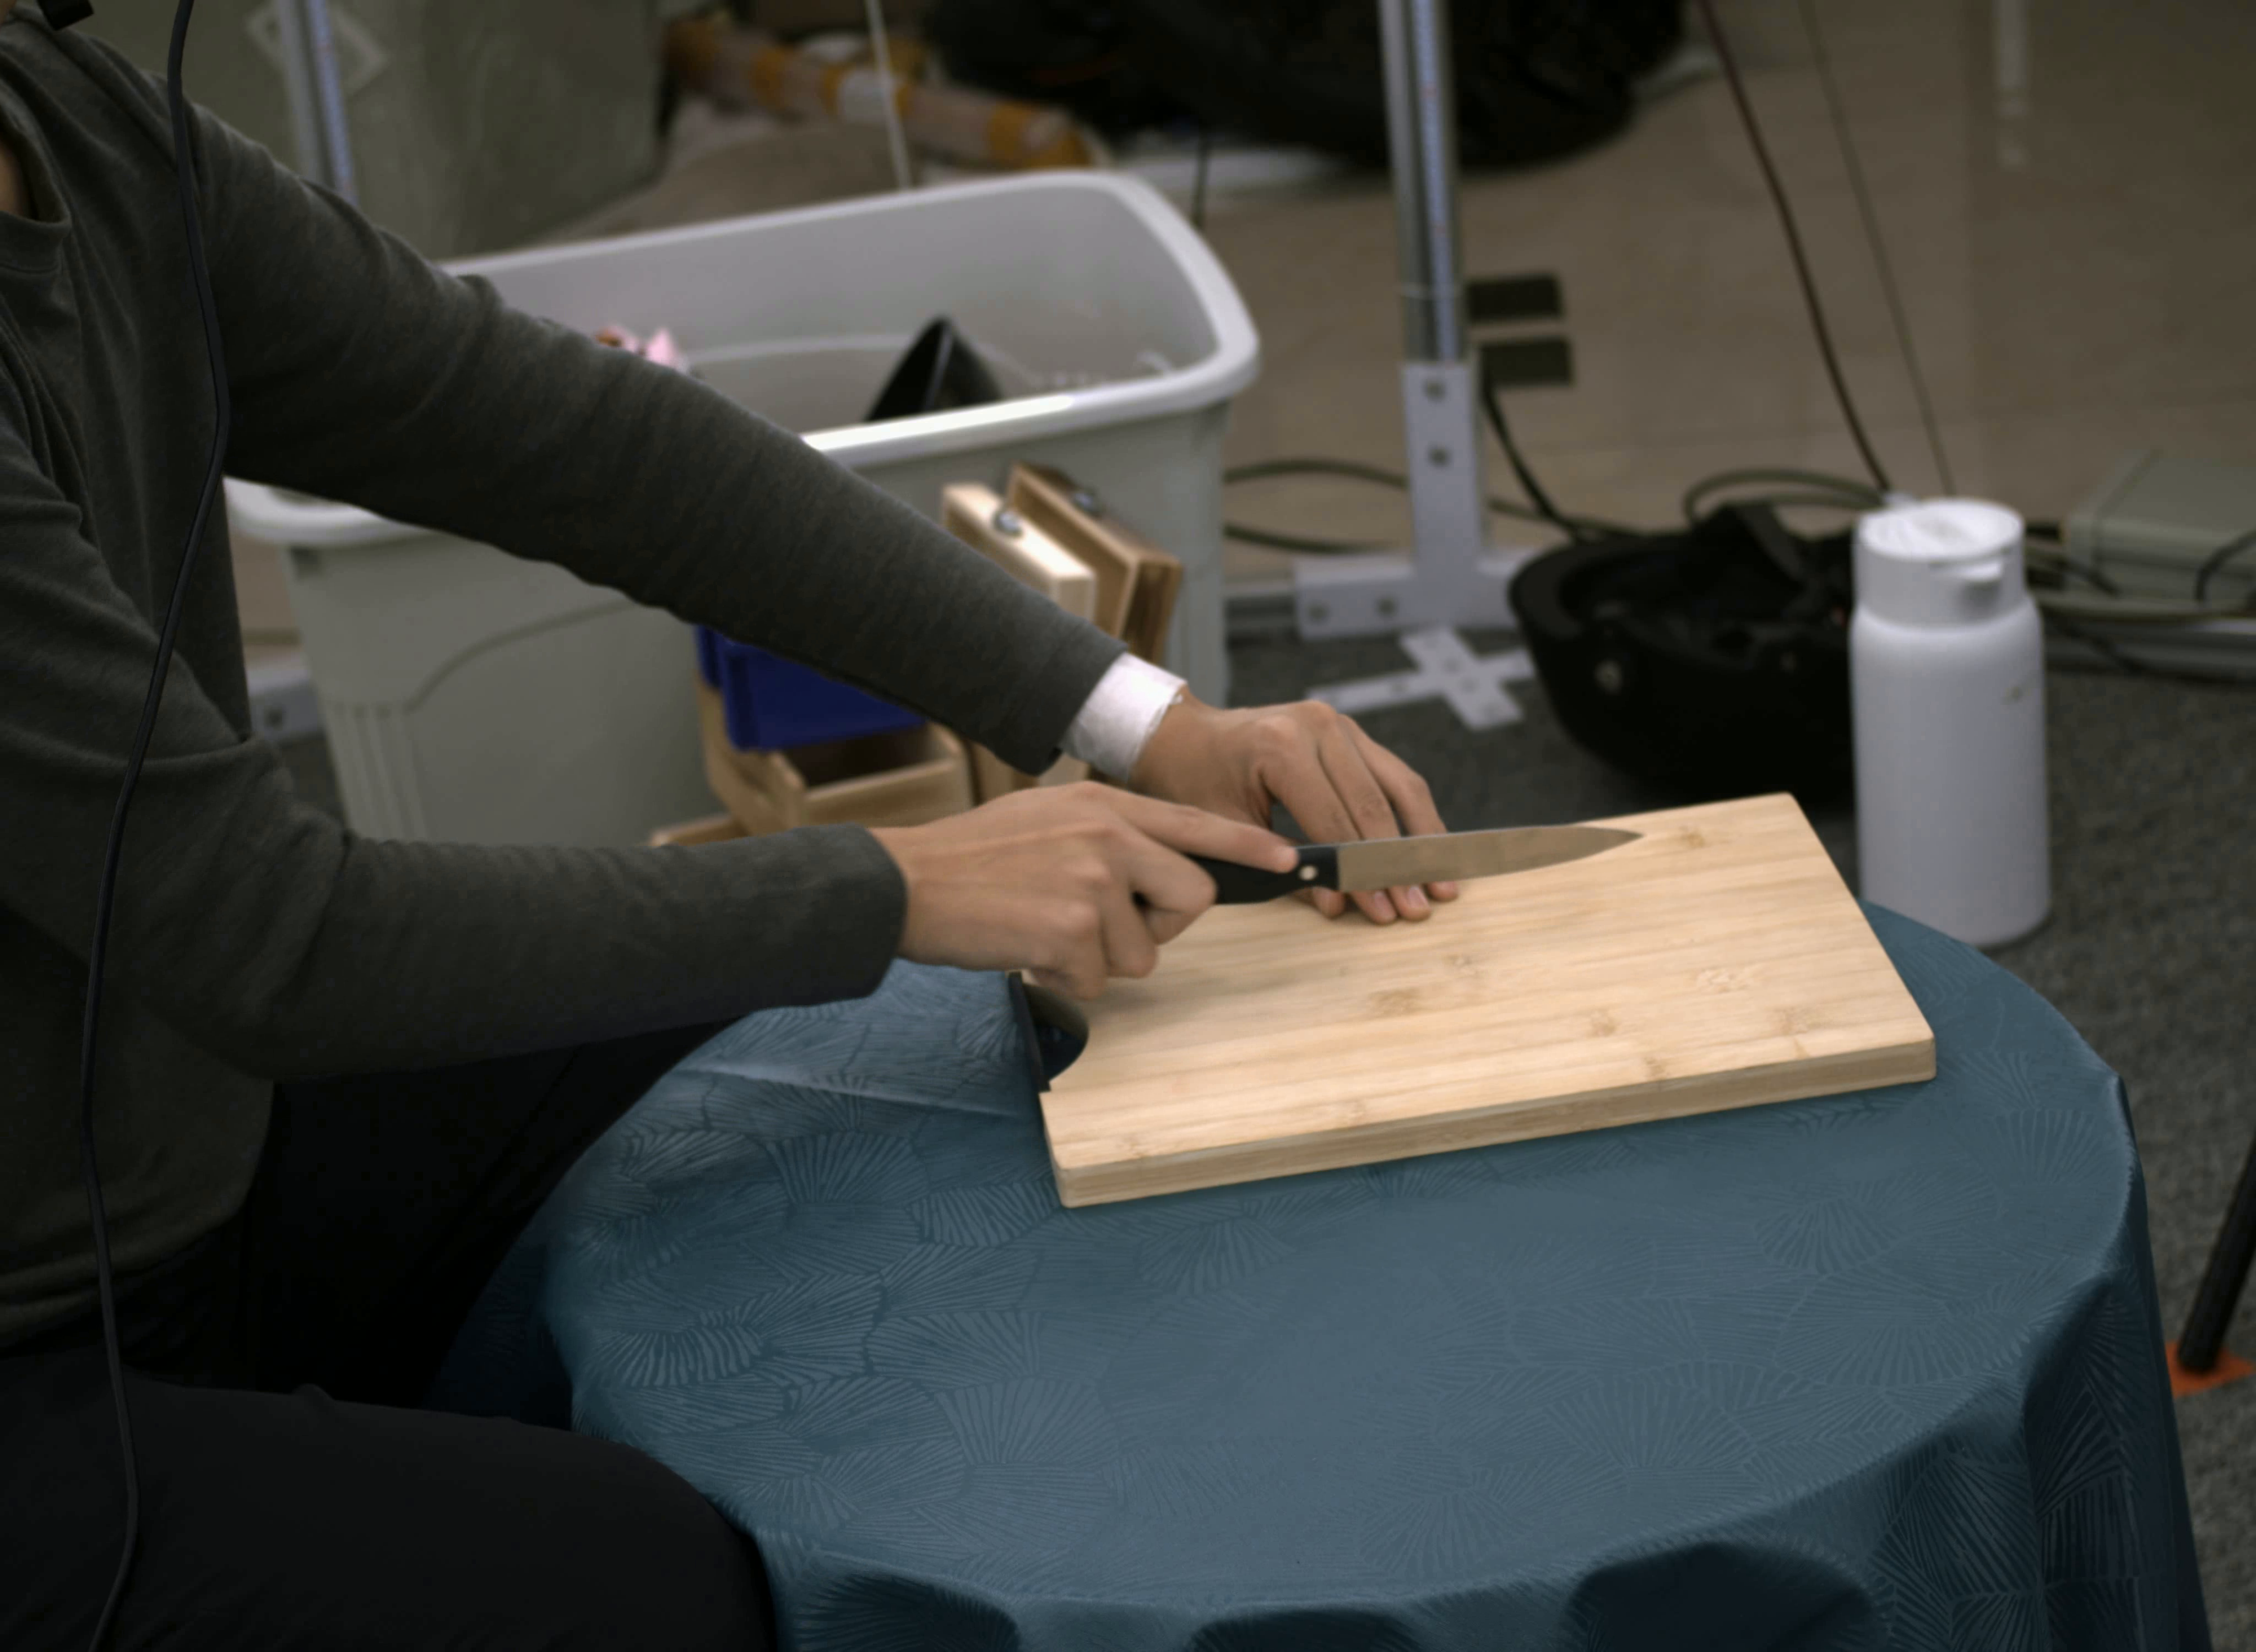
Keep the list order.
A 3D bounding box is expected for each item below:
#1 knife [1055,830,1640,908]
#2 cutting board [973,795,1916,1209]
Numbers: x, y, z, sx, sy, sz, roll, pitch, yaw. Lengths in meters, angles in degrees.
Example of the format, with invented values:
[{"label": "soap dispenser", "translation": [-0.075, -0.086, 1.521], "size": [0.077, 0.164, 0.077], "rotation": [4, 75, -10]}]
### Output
[{"label": "knife", "translation": [0.088, 0.014, 2.253], "size": [0.238, 0.025, 0.016], "rotation": [-4, 25, -9]}, {"label": "cutting board", "translation": [0.121, 0.067, 2.259], "size": [0.348, 0.024, 0.247], "rotation": [-9, 24, -5]}]
